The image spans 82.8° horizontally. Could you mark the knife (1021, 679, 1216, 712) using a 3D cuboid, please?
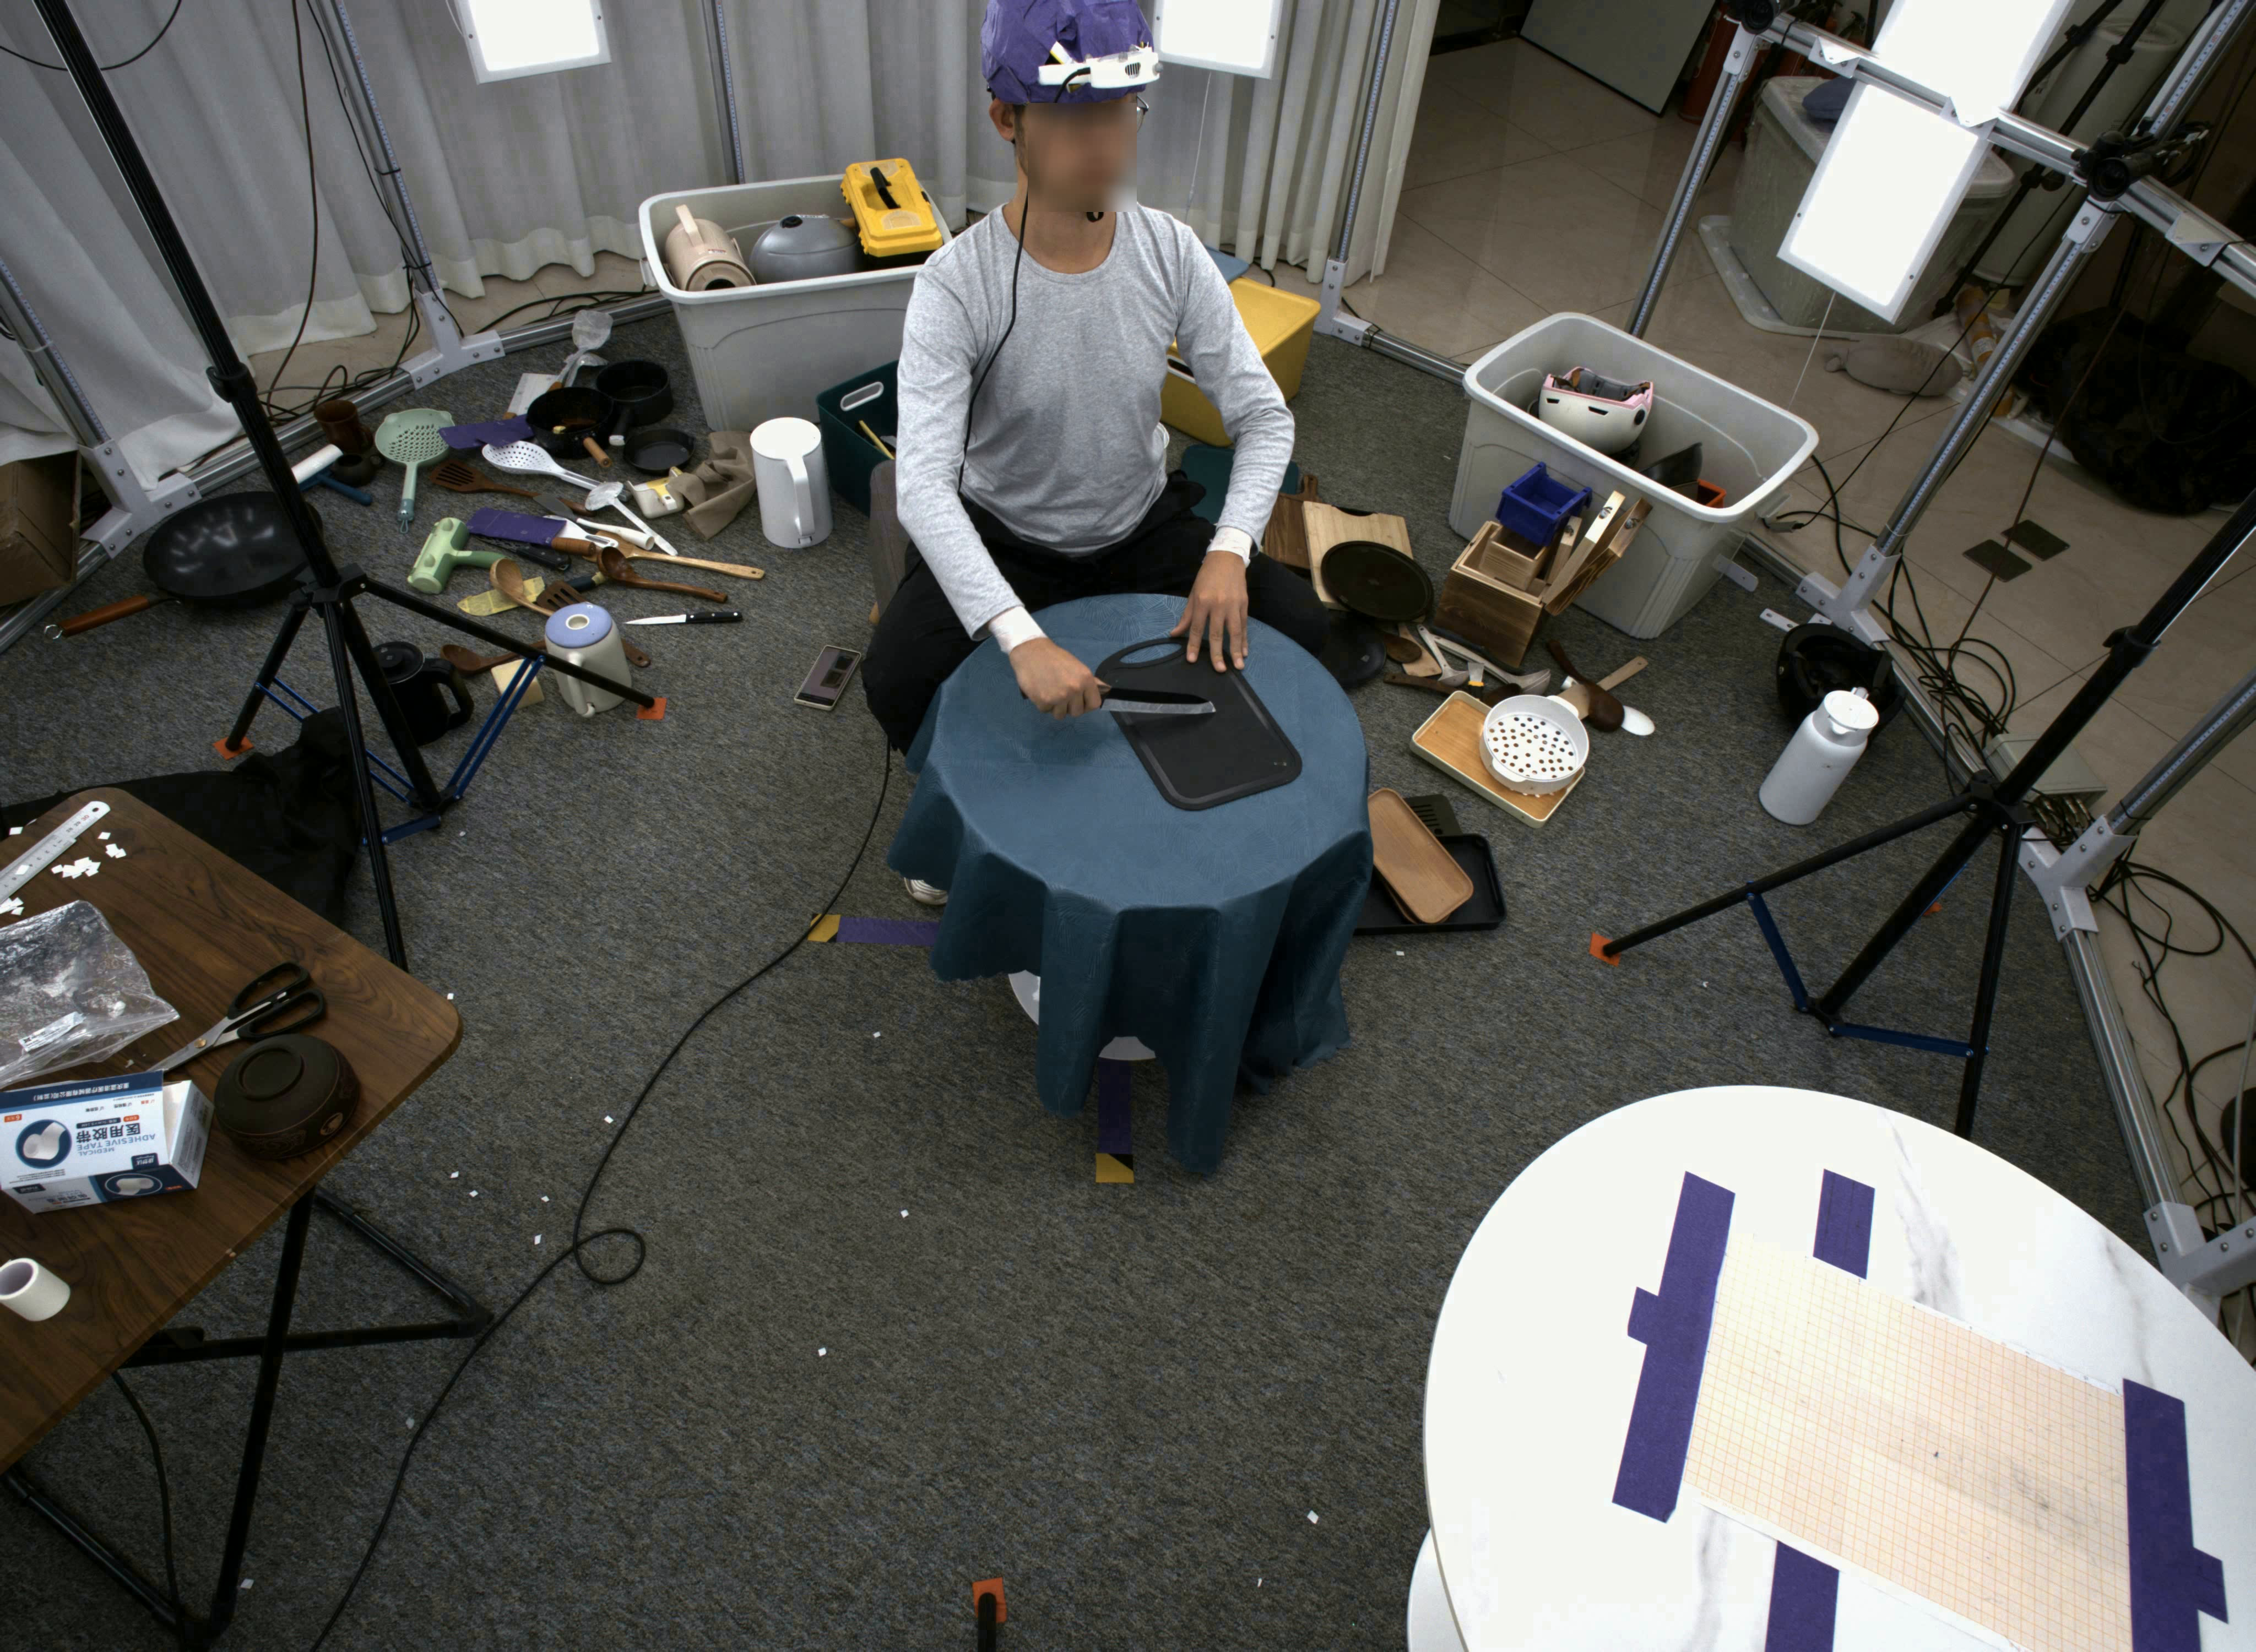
[{"bbox_3d":[-0.010,-0.177,1.760,0.288,0.049,0.020,4,51,-20],"label":"knife"}]

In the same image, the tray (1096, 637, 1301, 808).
[{"bbox_3d":[0.091,-0.158,1.806,0.211,0.009,0.333,-16,52,-17],"label":"tray"}]
